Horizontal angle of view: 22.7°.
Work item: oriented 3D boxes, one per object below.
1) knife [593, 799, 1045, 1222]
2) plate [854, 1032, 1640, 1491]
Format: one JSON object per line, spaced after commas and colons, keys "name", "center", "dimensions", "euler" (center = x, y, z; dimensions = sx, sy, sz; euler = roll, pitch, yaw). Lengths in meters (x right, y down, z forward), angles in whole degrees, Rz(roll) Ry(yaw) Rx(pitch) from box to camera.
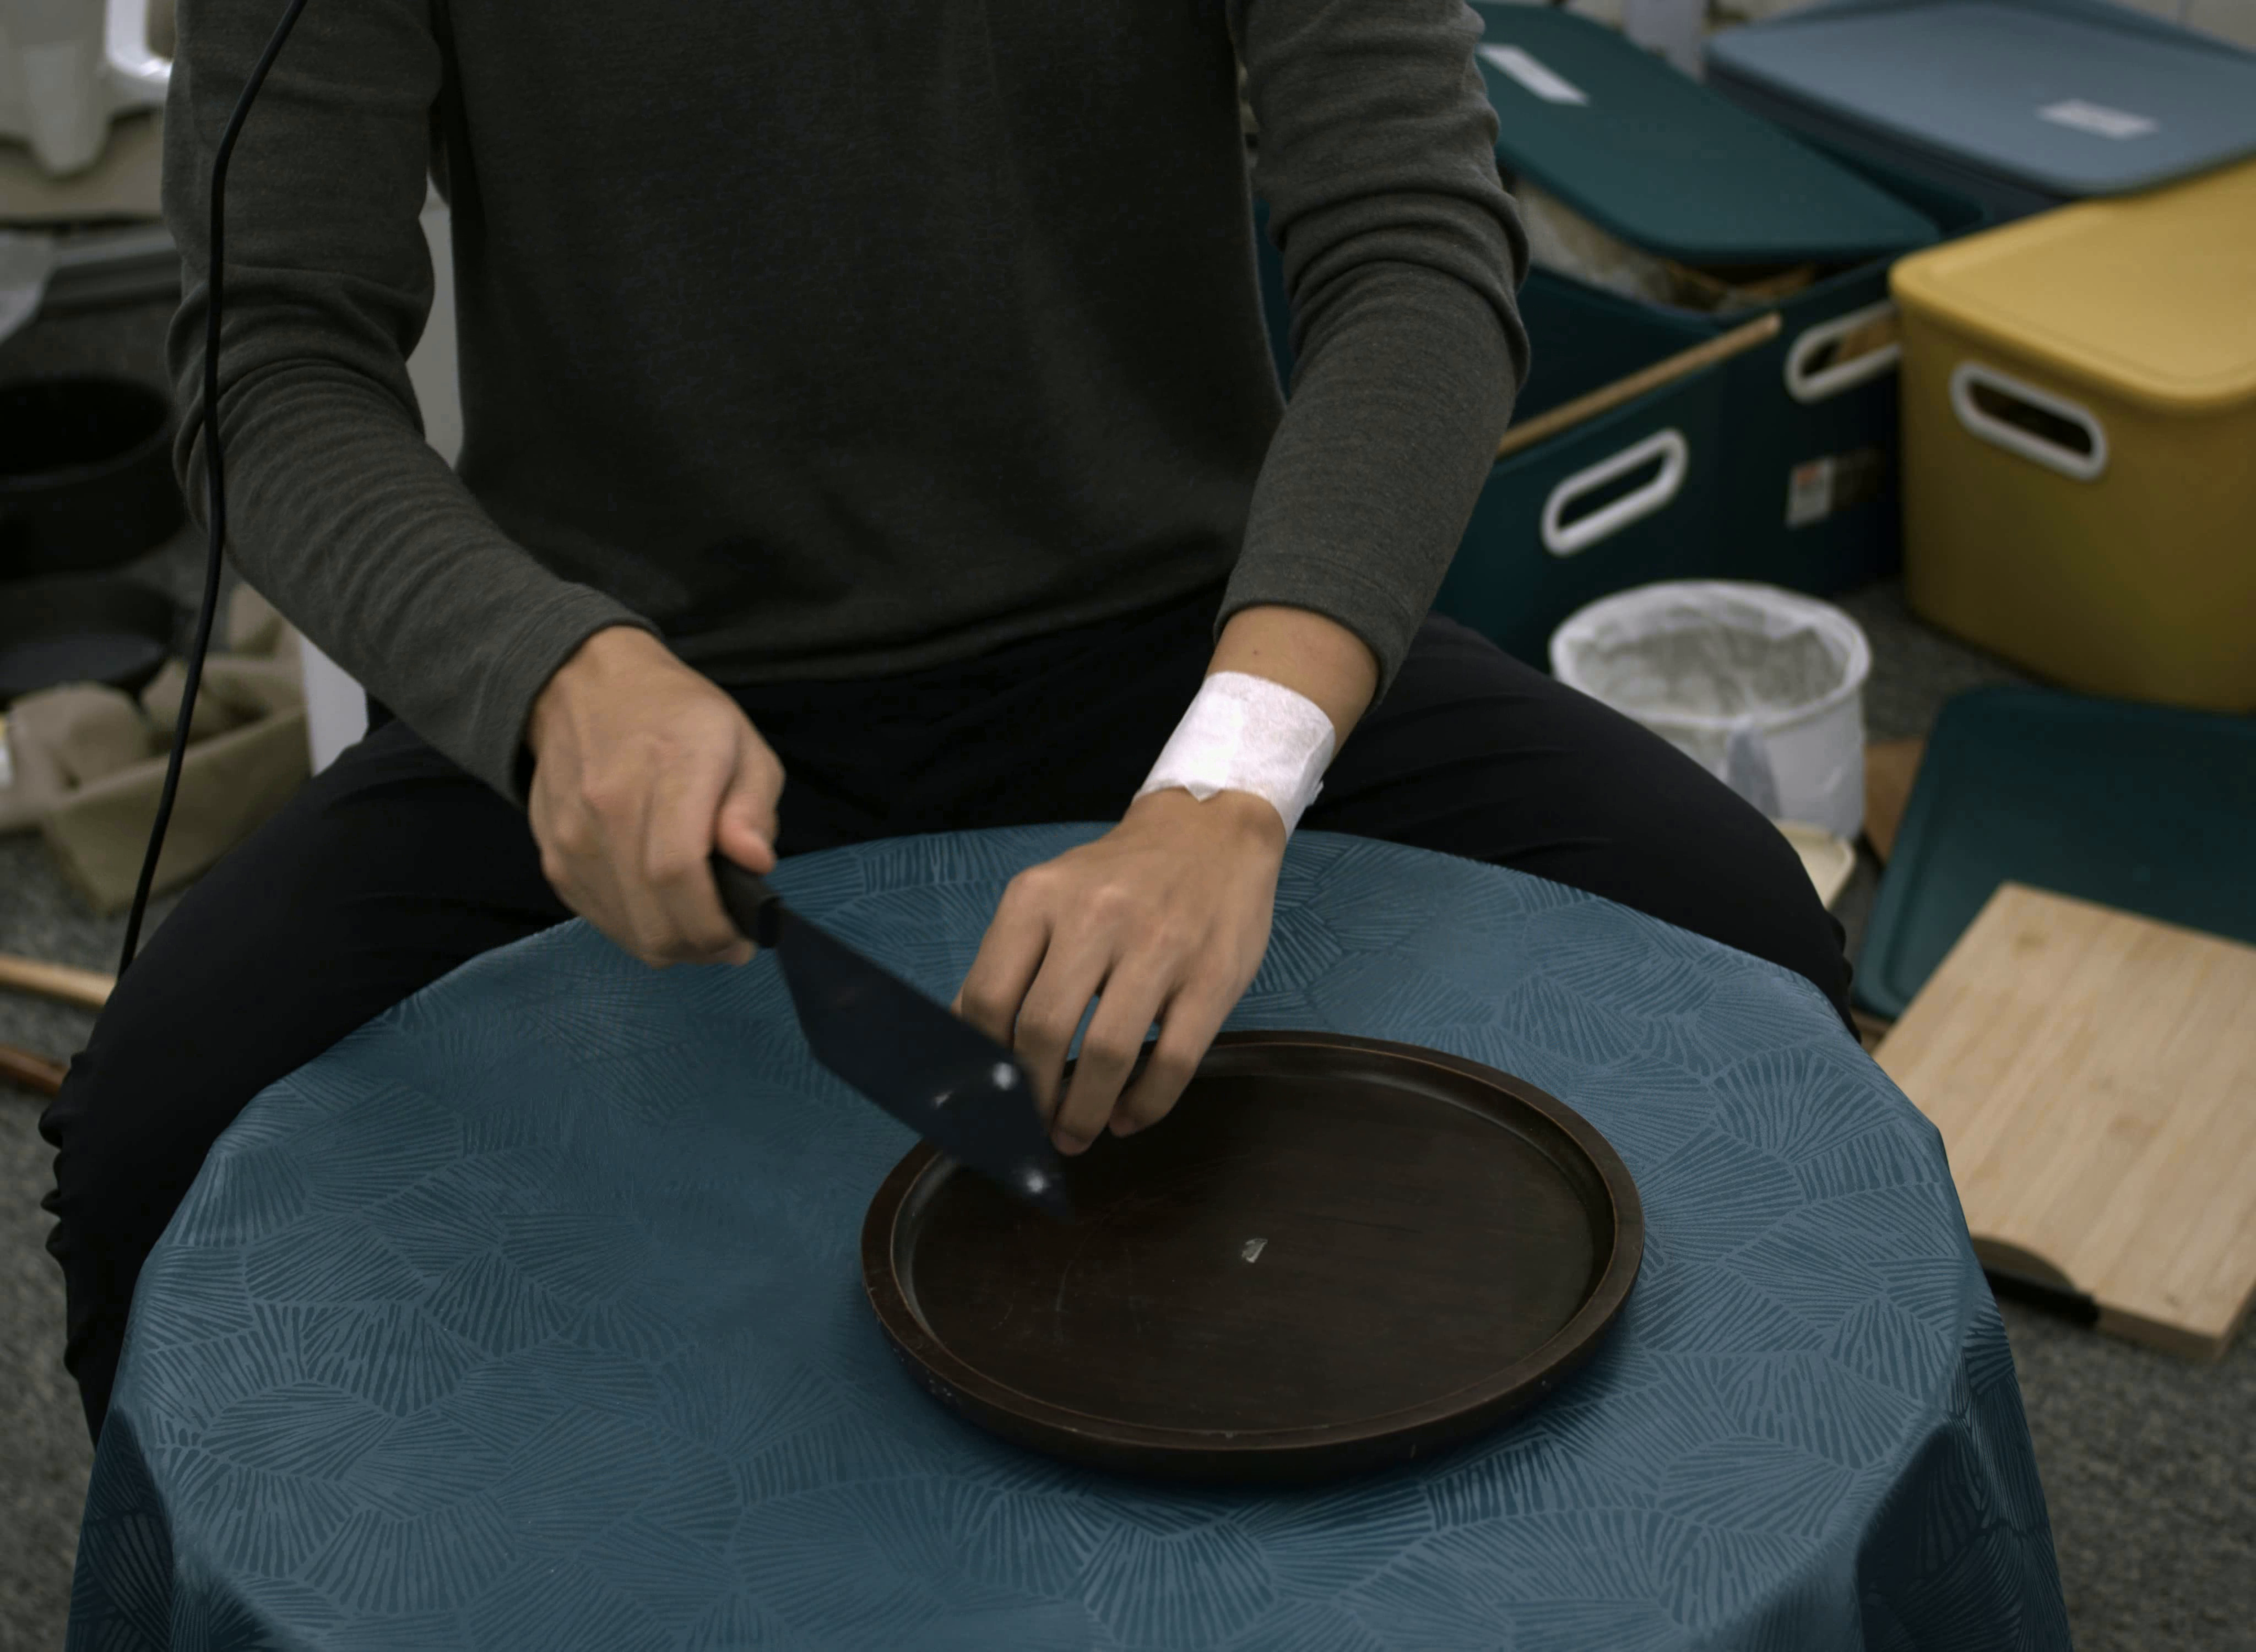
{"name": "knife", "center": [-0.101, 0.052, 1.784], "dimensions": [0.021, 0.080, 0.303], "euler": [-25, 30, -20]}
{"name": "plate", "center": [0.038, 0.137, 1.803], "dimensions": [0.253, 0.029, 0.259], "euler": [-3, 28, 2]}
